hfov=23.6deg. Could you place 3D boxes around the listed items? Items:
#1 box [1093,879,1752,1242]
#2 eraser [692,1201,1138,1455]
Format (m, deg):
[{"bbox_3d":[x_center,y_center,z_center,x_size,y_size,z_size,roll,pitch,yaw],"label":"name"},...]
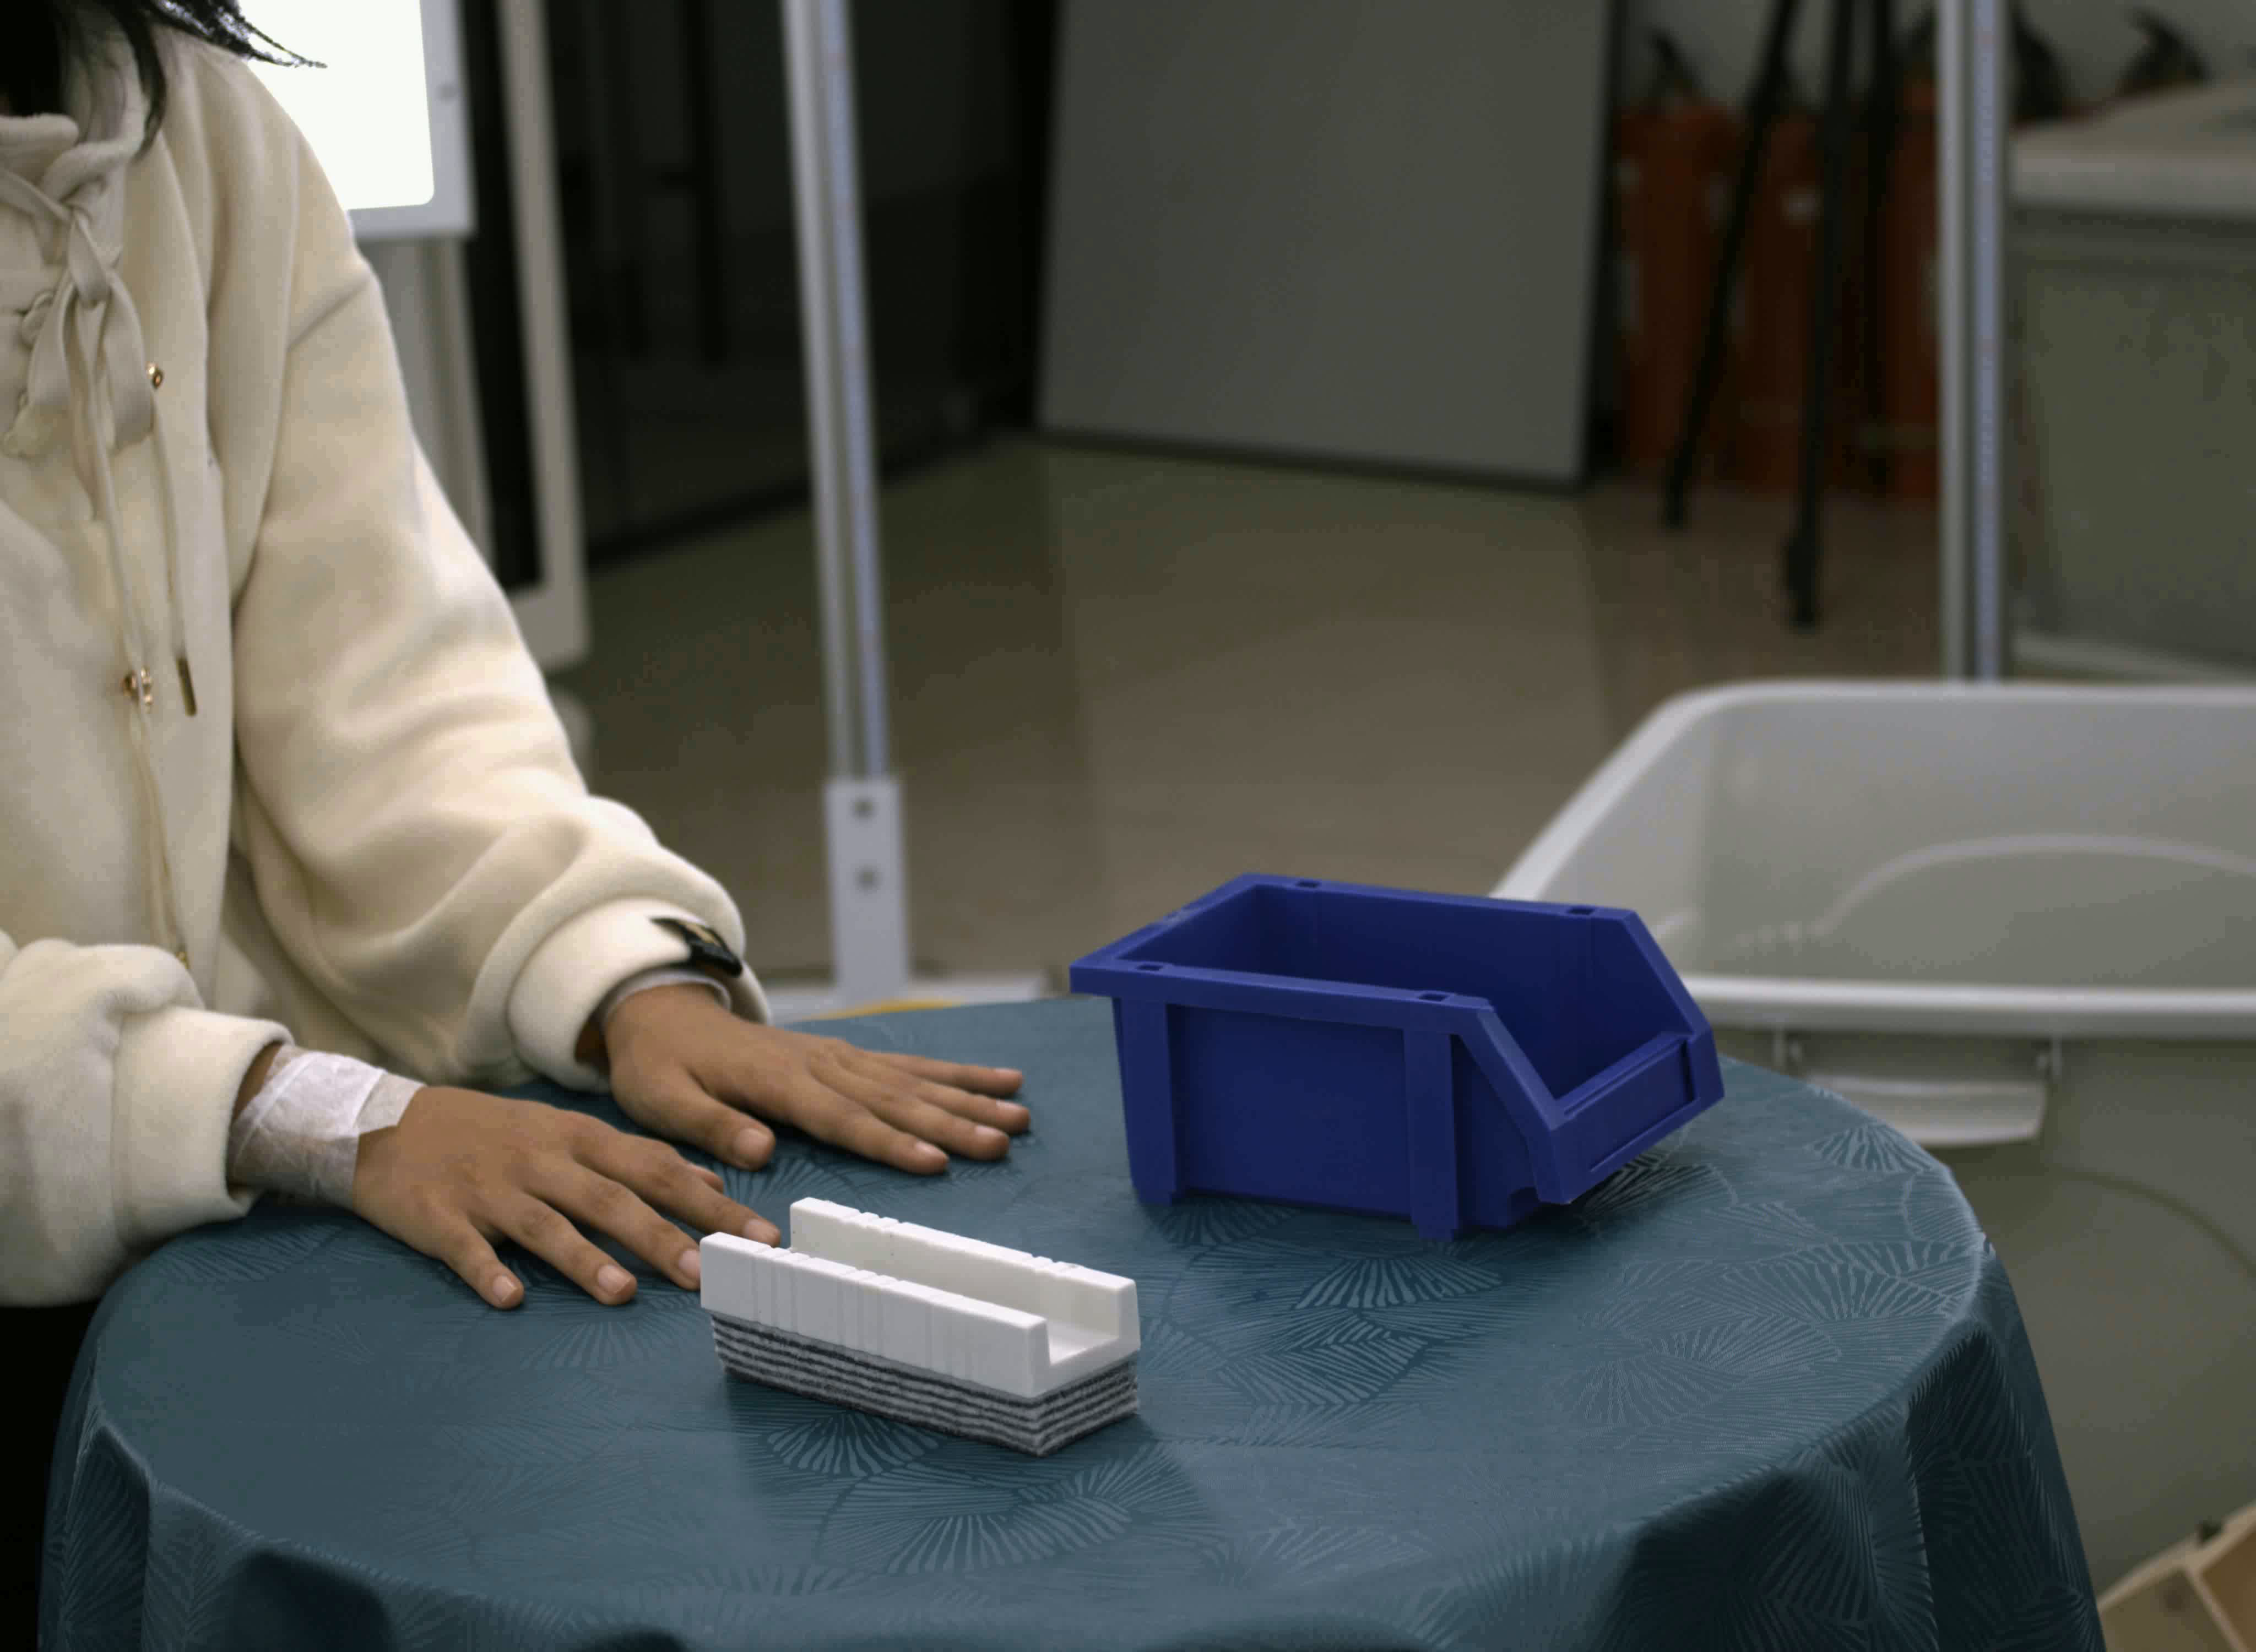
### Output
[{"bbox_3d":[0.098,0.075,1.756,0.180,0.083,0.122,3,15,34],"label":"box"},{"bbox_3d":[-0.063,0.146,1.585,0.135,0.047,0.049,9,21,39],"label":"eraser"}]
